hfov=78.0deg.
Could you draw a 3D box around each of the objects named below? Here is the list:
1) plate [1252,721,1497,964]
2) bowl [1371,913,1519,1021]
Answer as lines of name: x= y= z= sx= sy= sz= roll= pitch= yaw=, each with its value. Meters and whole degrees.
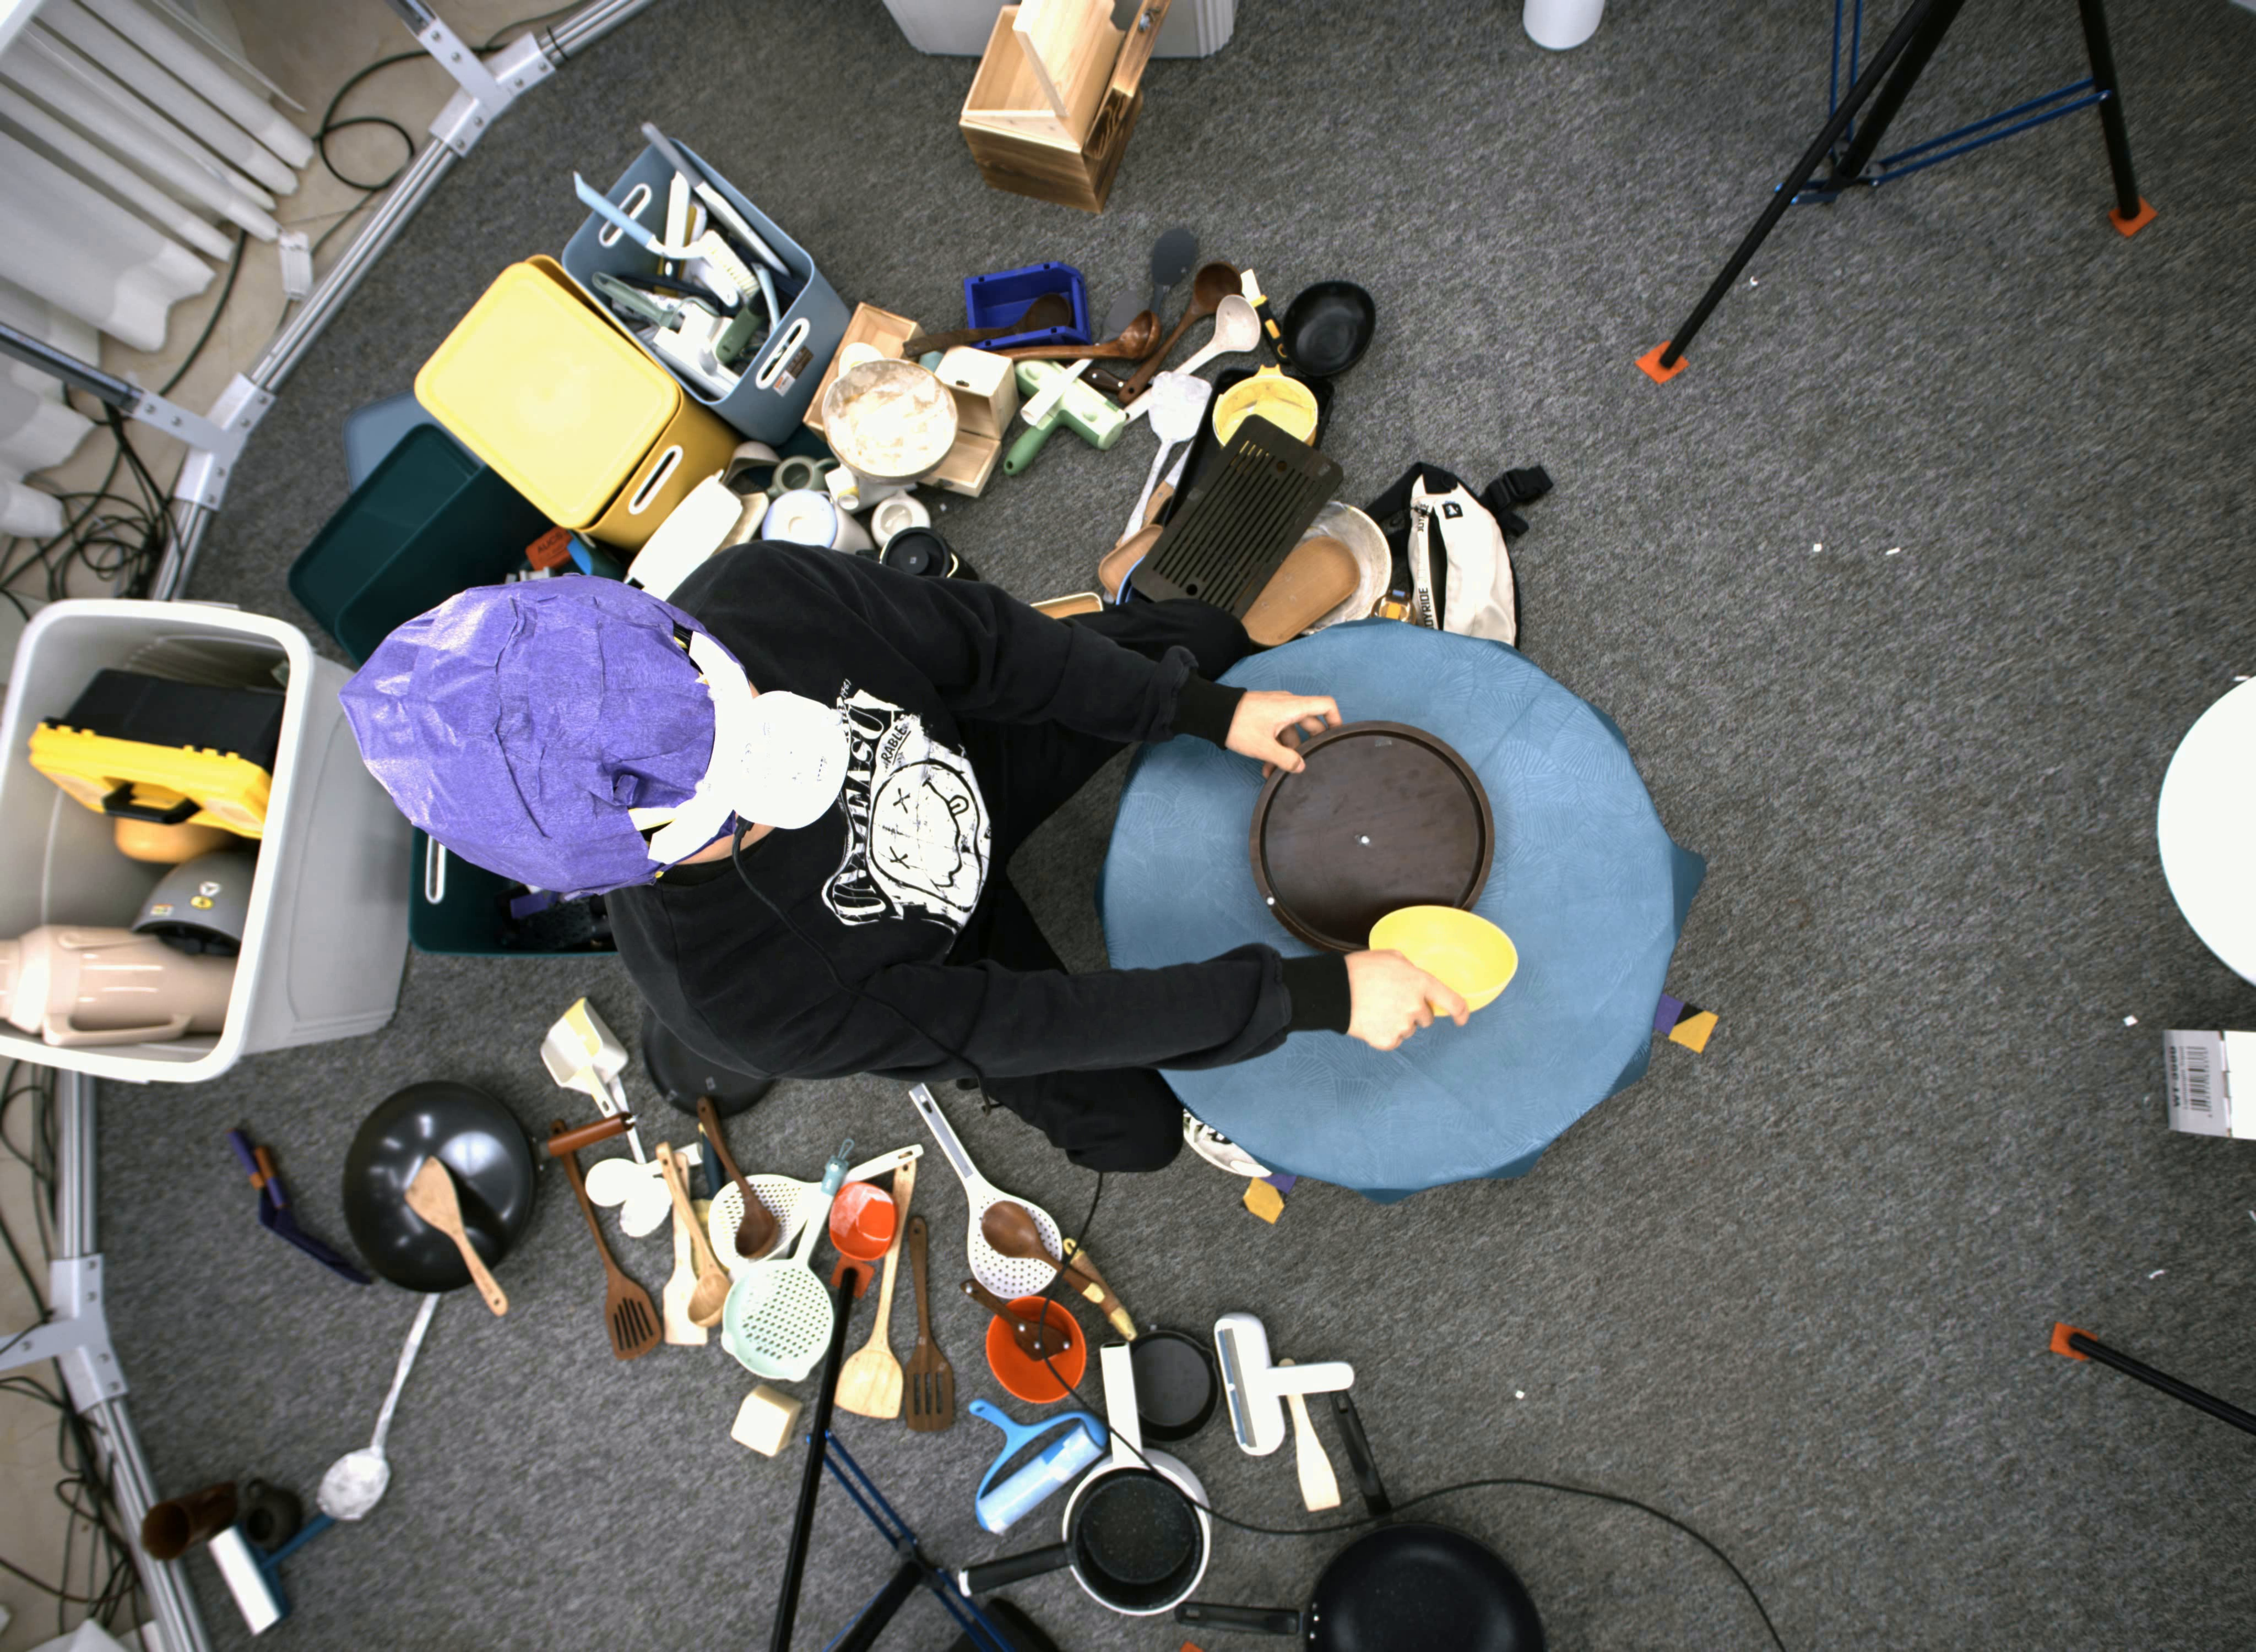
plate: x=0.254 y=0.016 z=1.425 sx=0.255 sy=0.028 sz=0.257 roll=1 pitch=103 yaw=3
bowl: x=0.311 y=0.149 z=1.371 sx=0.146 sy=0.141 sz=0.061 roll=6 pitch=123 yaw=10
